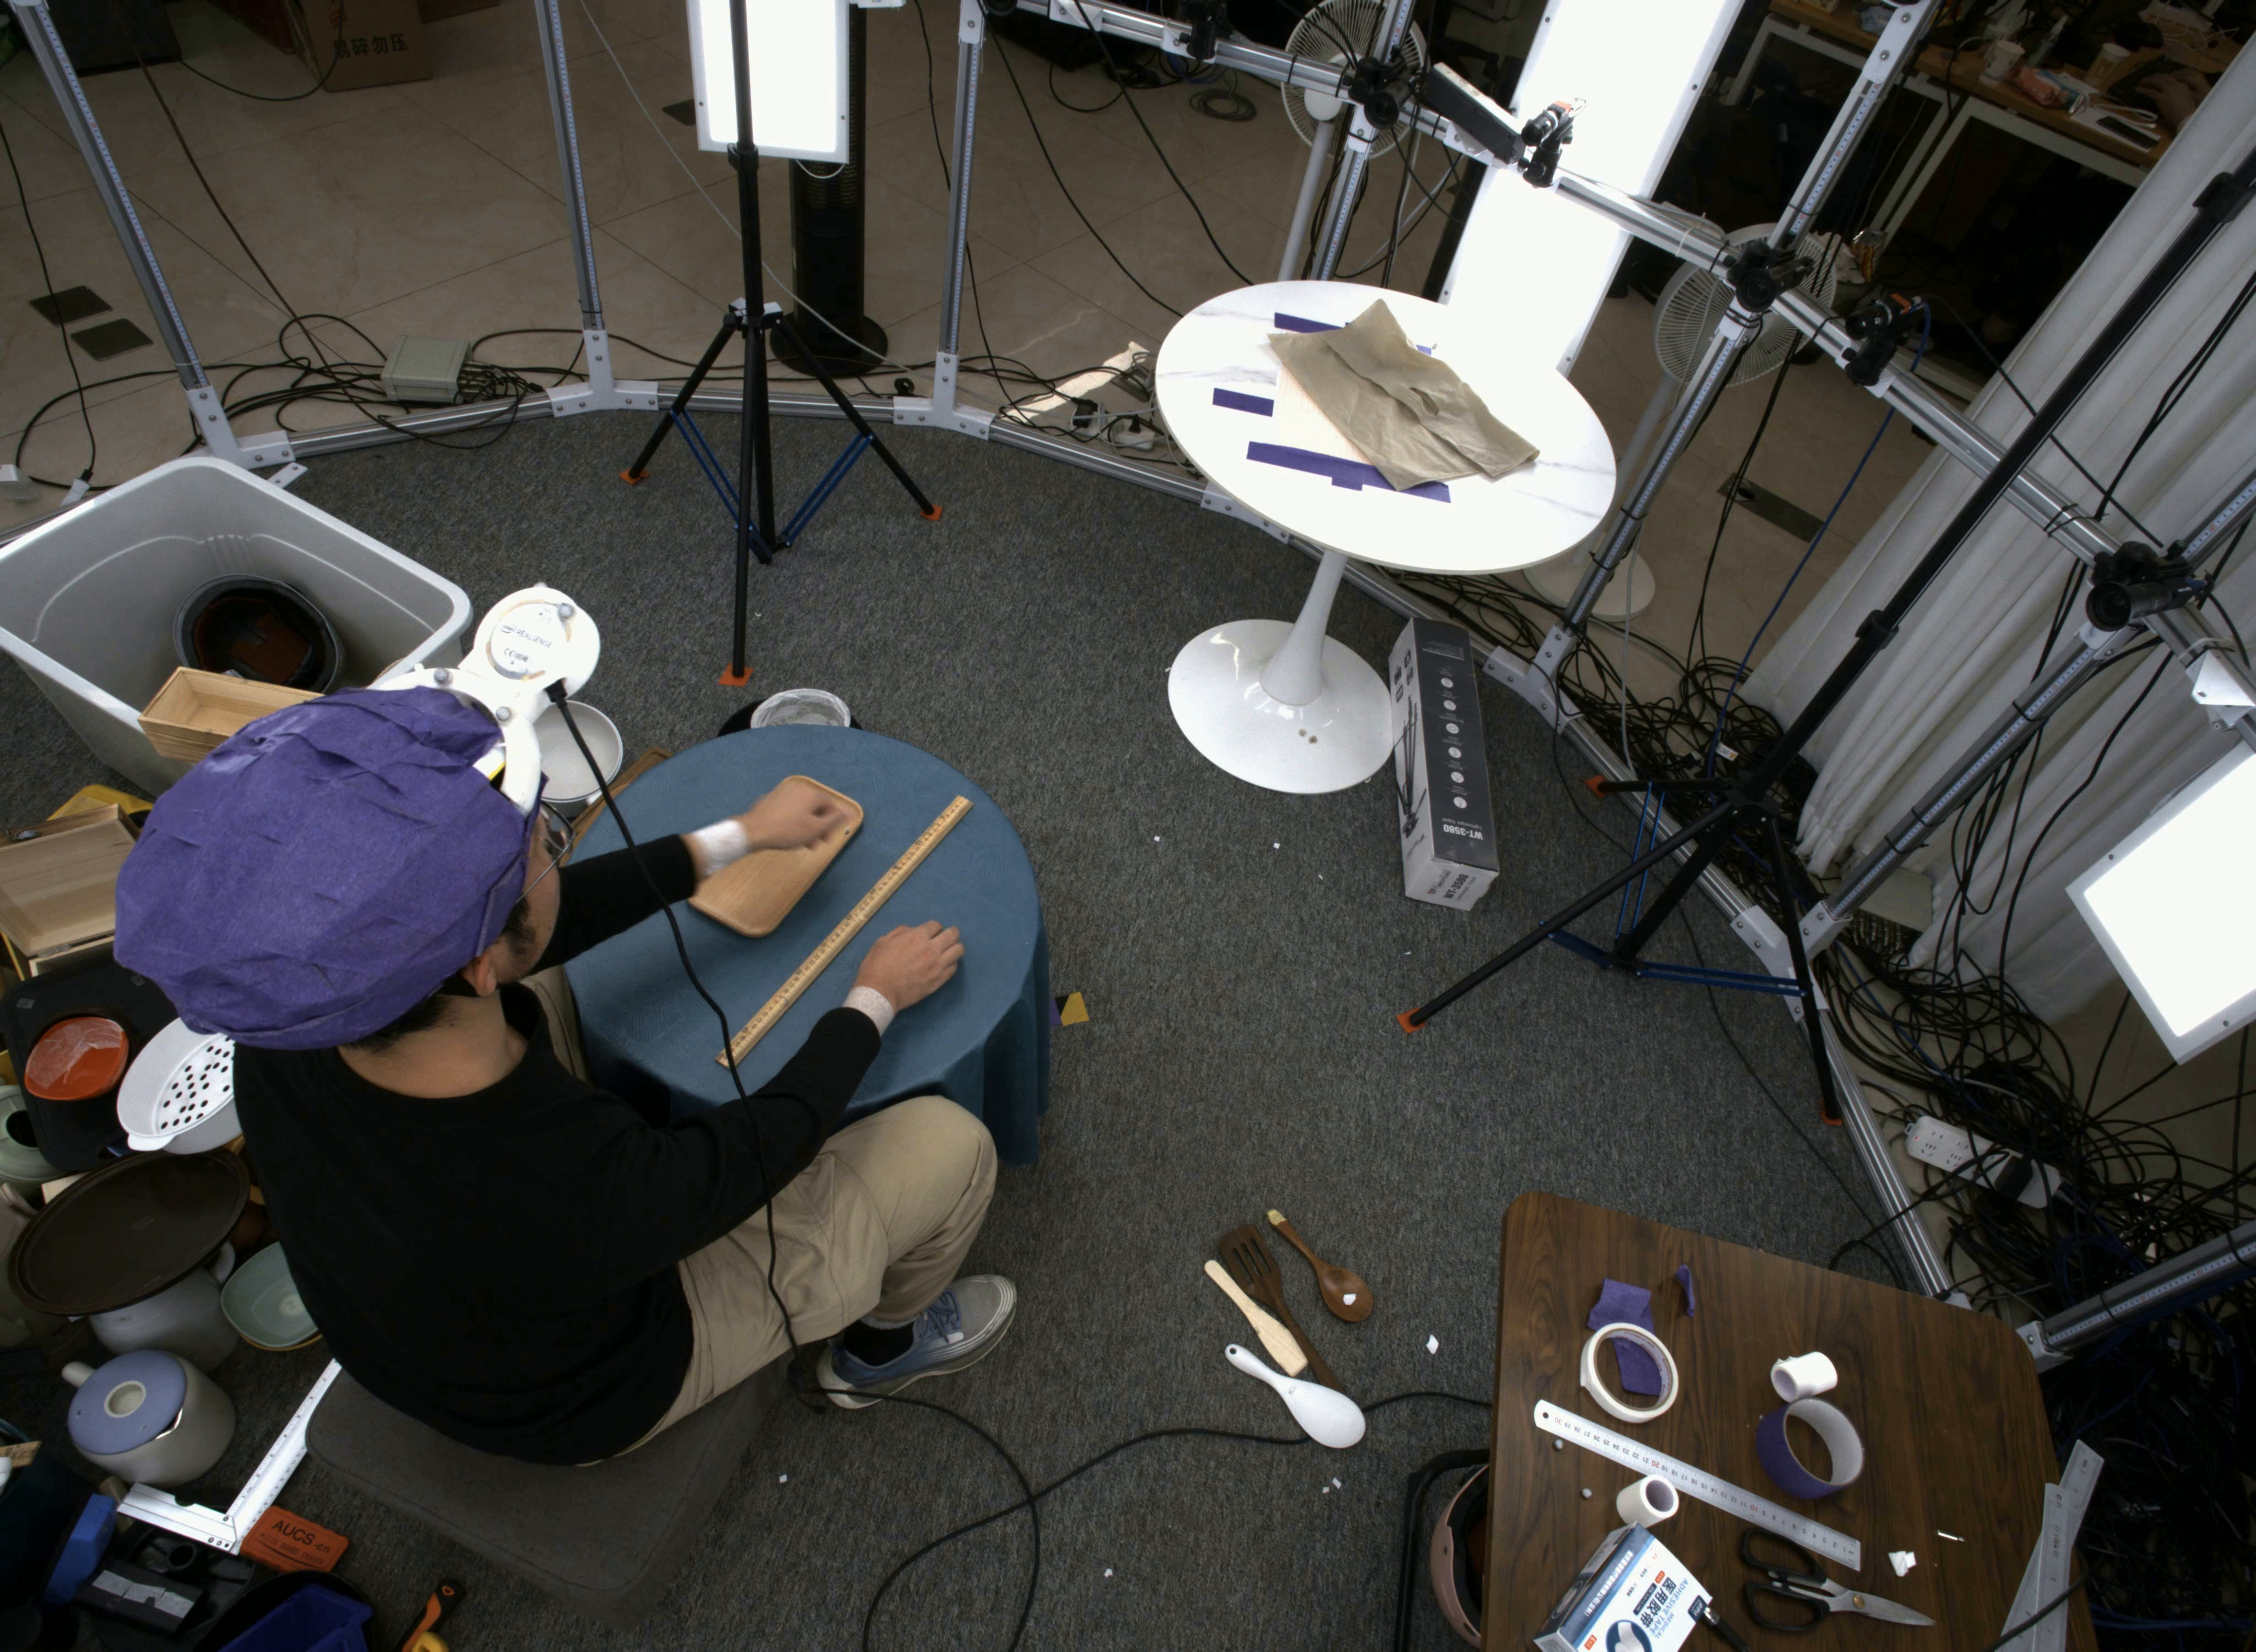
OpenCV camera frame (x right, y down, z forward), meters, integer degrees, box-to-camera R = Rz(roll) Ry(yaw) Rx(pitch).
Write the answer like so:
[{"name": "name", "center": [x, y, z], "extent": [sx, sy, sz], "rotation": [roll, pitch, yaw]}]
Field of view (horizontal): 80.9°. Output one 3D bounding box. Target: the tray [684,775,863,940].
[{"name": "tray", "center": [-0.455, 0.036, 1.673], "extent": [0.128, 0.023, 0.249], "rotation": [27, 53, 9]}]

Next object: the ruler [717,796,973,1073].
[{"name": "ruler", "center": [-0.346, 0.119, 1.647], "extent": [0.026, 0.006, 0.499], "rotation": [30, 52, 11]}]
